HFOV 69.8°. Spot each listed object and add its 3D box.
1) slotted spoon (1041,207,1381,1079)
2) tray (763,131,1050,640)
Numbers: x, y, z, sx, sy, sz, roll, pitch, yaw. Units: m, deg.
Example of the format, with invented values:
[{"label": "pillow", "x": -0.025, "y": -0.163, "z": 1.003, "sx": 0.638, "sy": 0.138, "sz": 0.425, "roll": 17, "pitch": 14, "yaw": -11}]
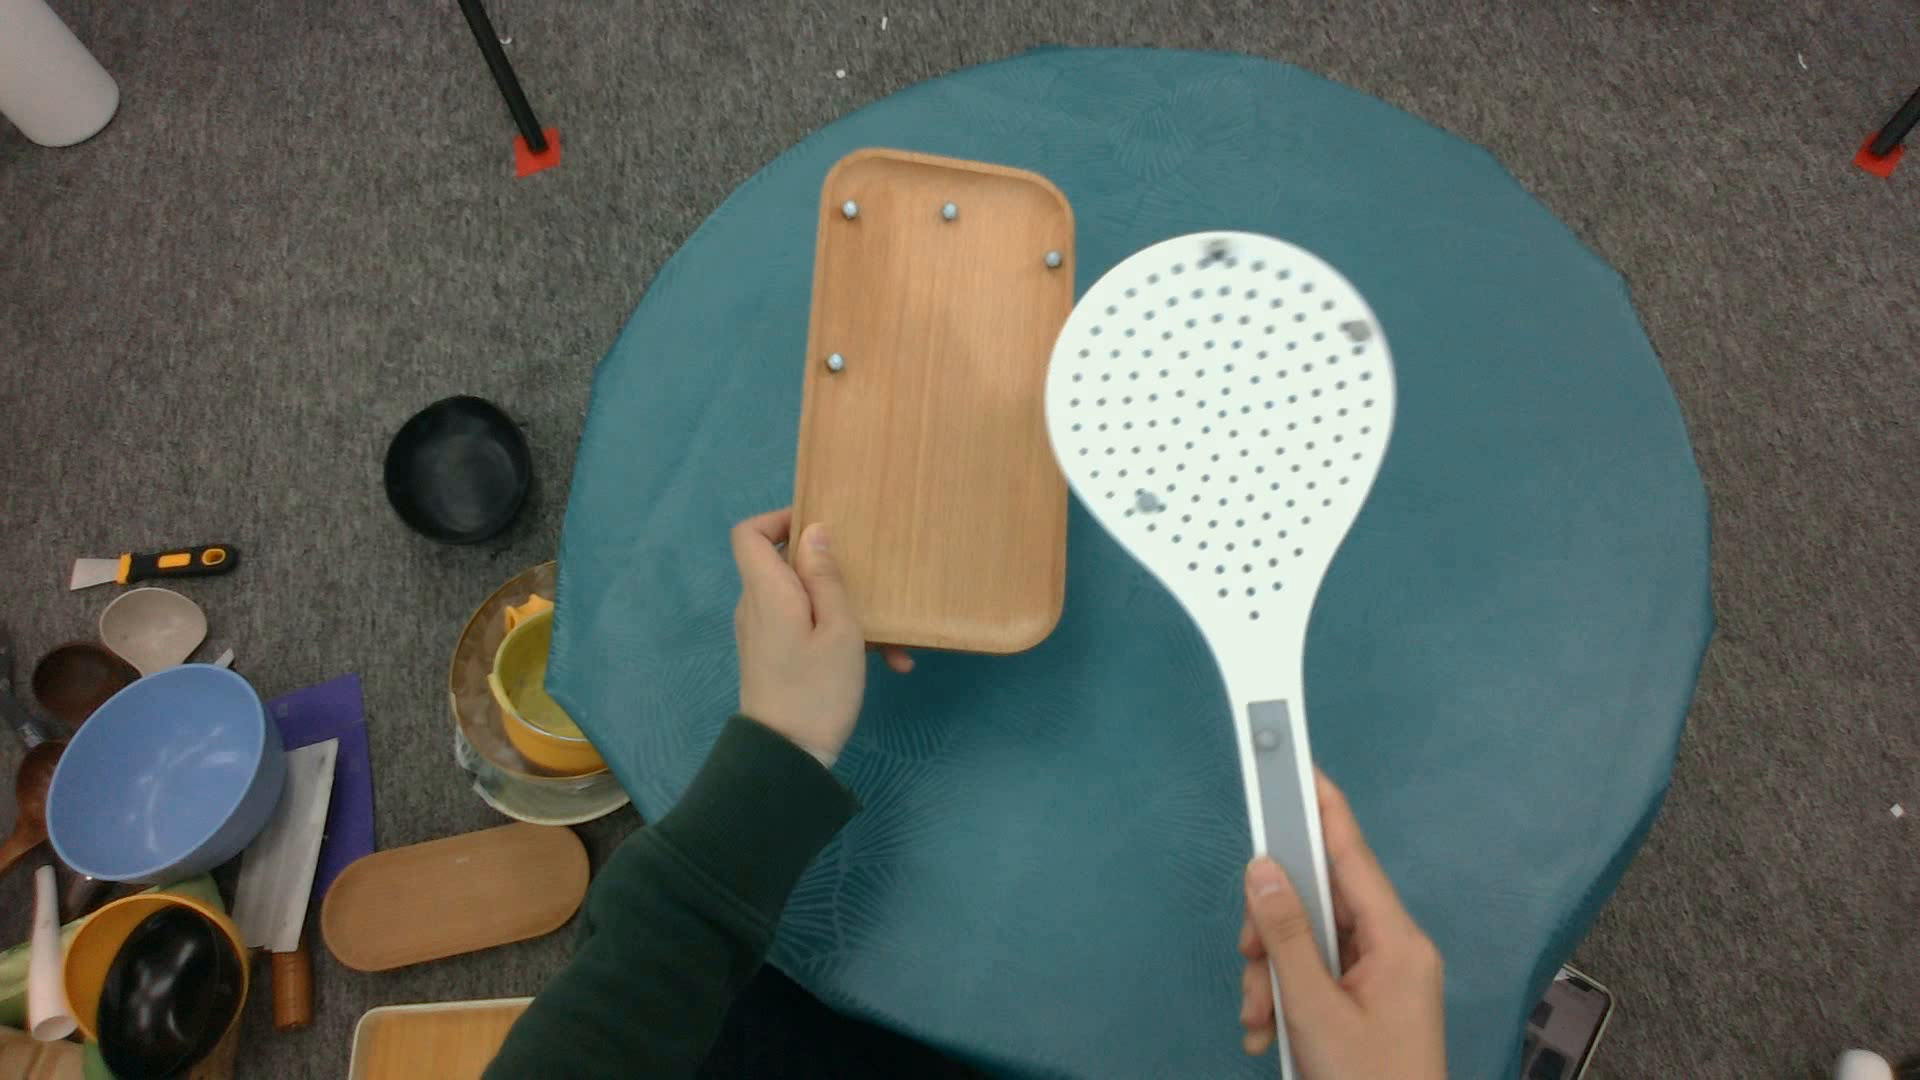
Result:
[{"label": "slotted spoon", "x": 0.113, "y": 0.039, "z": 0.548, "sx": 0.136, "sy": 0.046, "sz": 0.350, "roll": -8, "pitch": 78, "yaw": 14}, {"label": "tray", "x": -0.021, "y": -0.077, "z": 0.651, "sx": 0.130, "sy": 0.023, "sz": 0.251, "roll": 5, "pitch": 72, "yaw": -9}]
